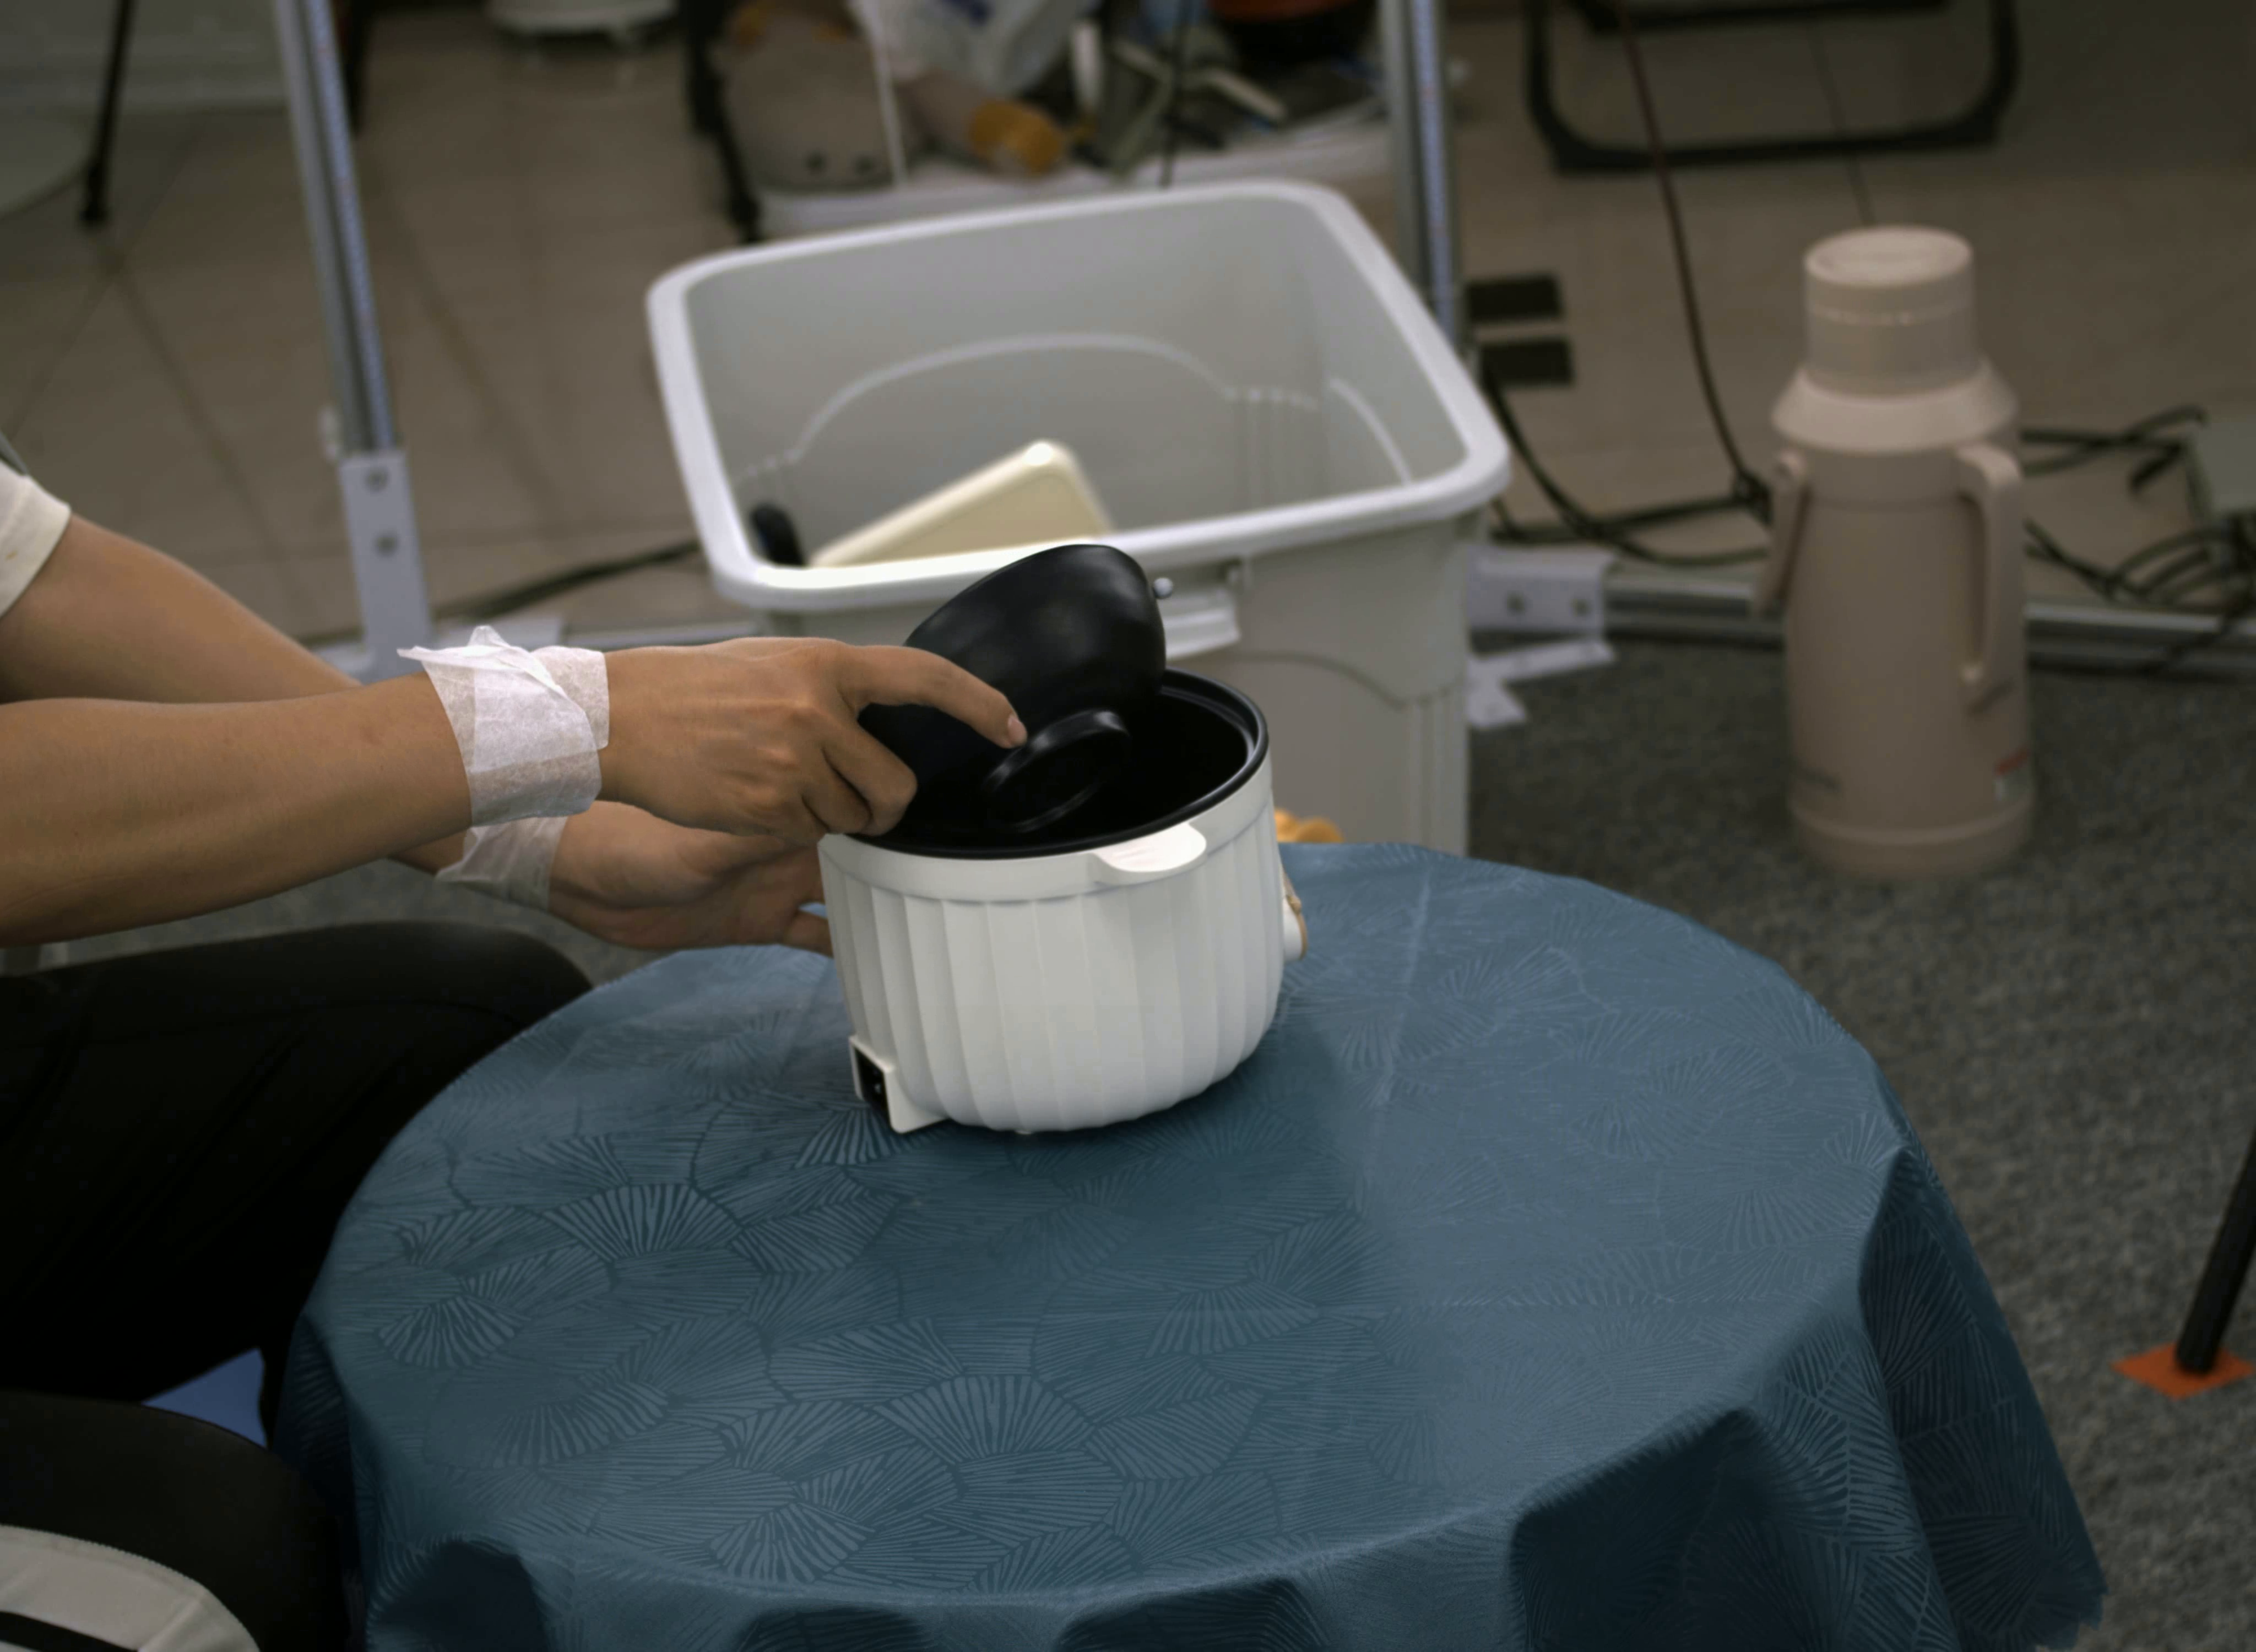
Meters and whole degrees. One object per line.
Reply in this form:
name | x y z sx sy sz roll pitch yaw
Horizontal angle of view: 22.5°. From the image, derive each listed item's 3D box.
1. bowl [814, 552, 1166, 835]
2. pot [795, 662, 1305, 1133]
bowl | -0.042 -0.039 2.168 0.170 0.139 0.066 -2 53 -56
pot | -0.025 0.029 2.227 0.189 0.145 0.237 -21 29 -21
